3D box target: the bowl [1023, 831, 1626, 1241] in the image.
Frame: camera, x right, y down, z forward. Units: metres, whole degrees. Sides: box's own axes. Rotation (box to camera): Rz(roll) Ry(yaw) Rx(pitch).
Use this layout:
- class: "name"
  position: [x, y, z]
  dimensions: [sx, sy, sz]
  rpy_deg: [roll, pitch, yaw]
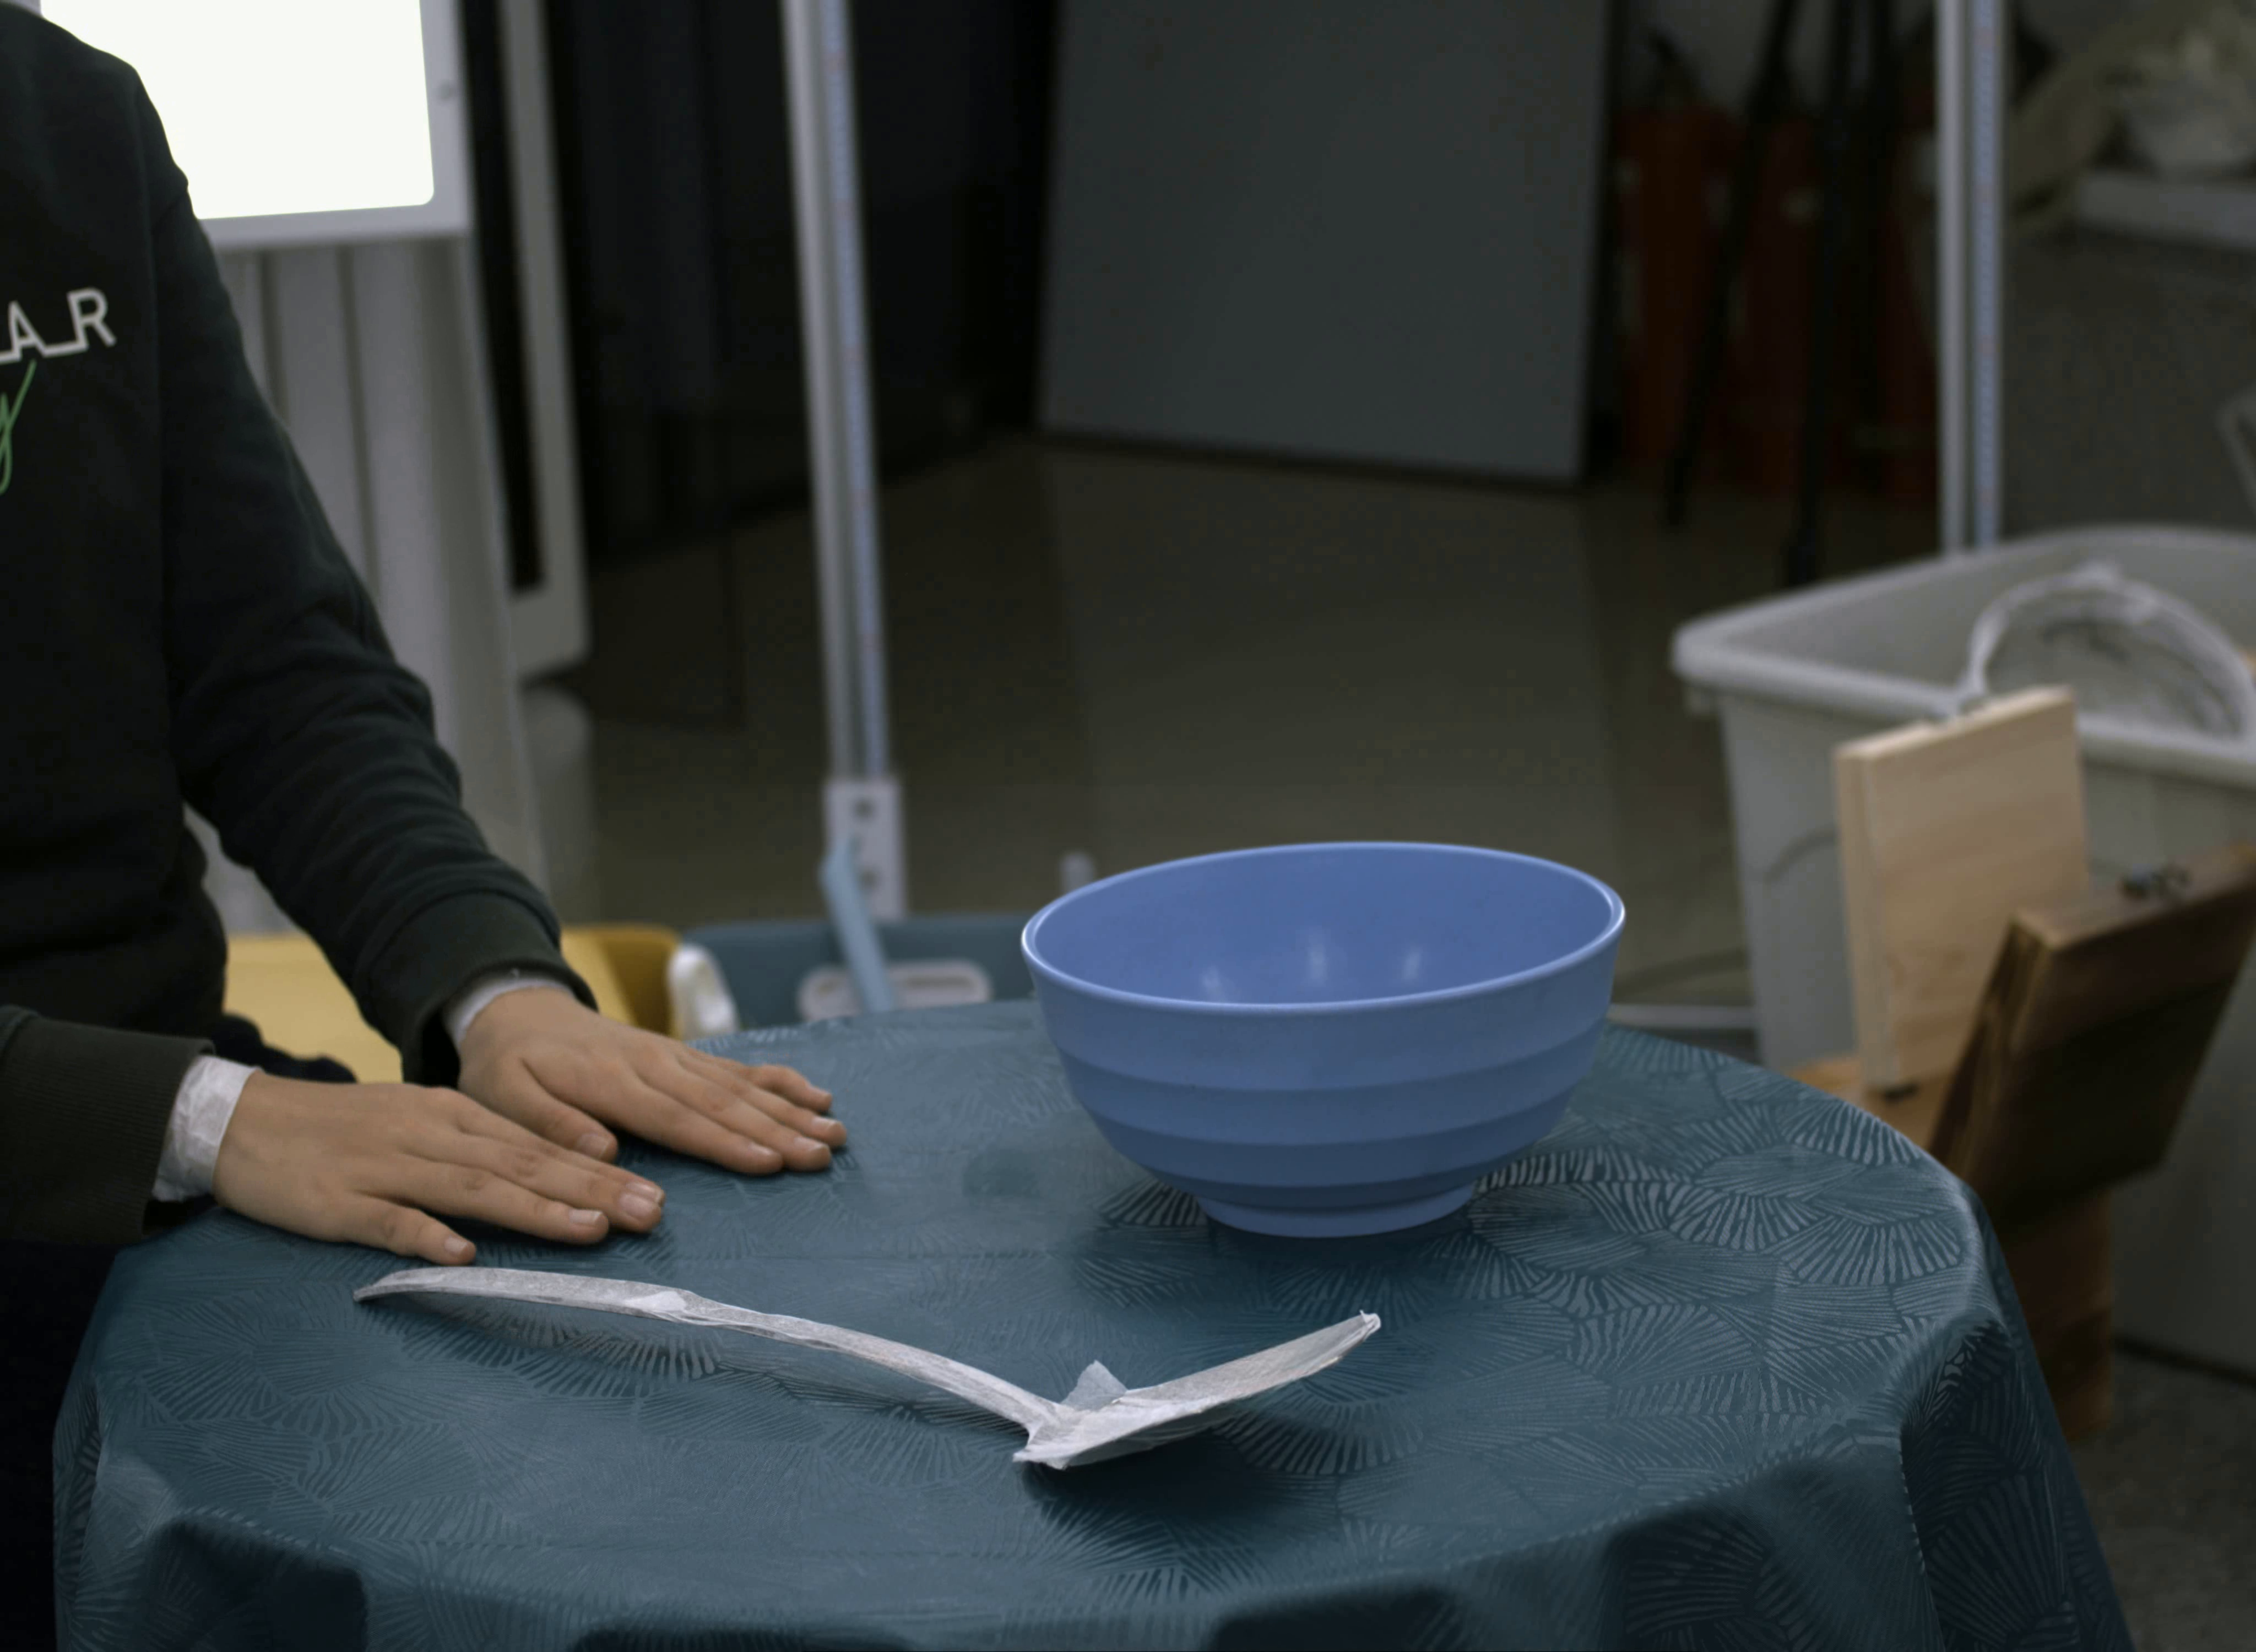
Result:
- class: "bowl"
  position: [0.066, 0.074, 1.742]
  dimensions: [0.194, 0.096, 0.197]
  rpy_deg: [-4, 15, 0]

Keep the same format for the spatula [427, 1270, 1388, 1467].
- class: "spatula"
  position: [-0.086, 0.149, 1.604]
  dimensions: [0.367, 0.045, 0.097]
  rpy_deg: [7, 19, 38]
